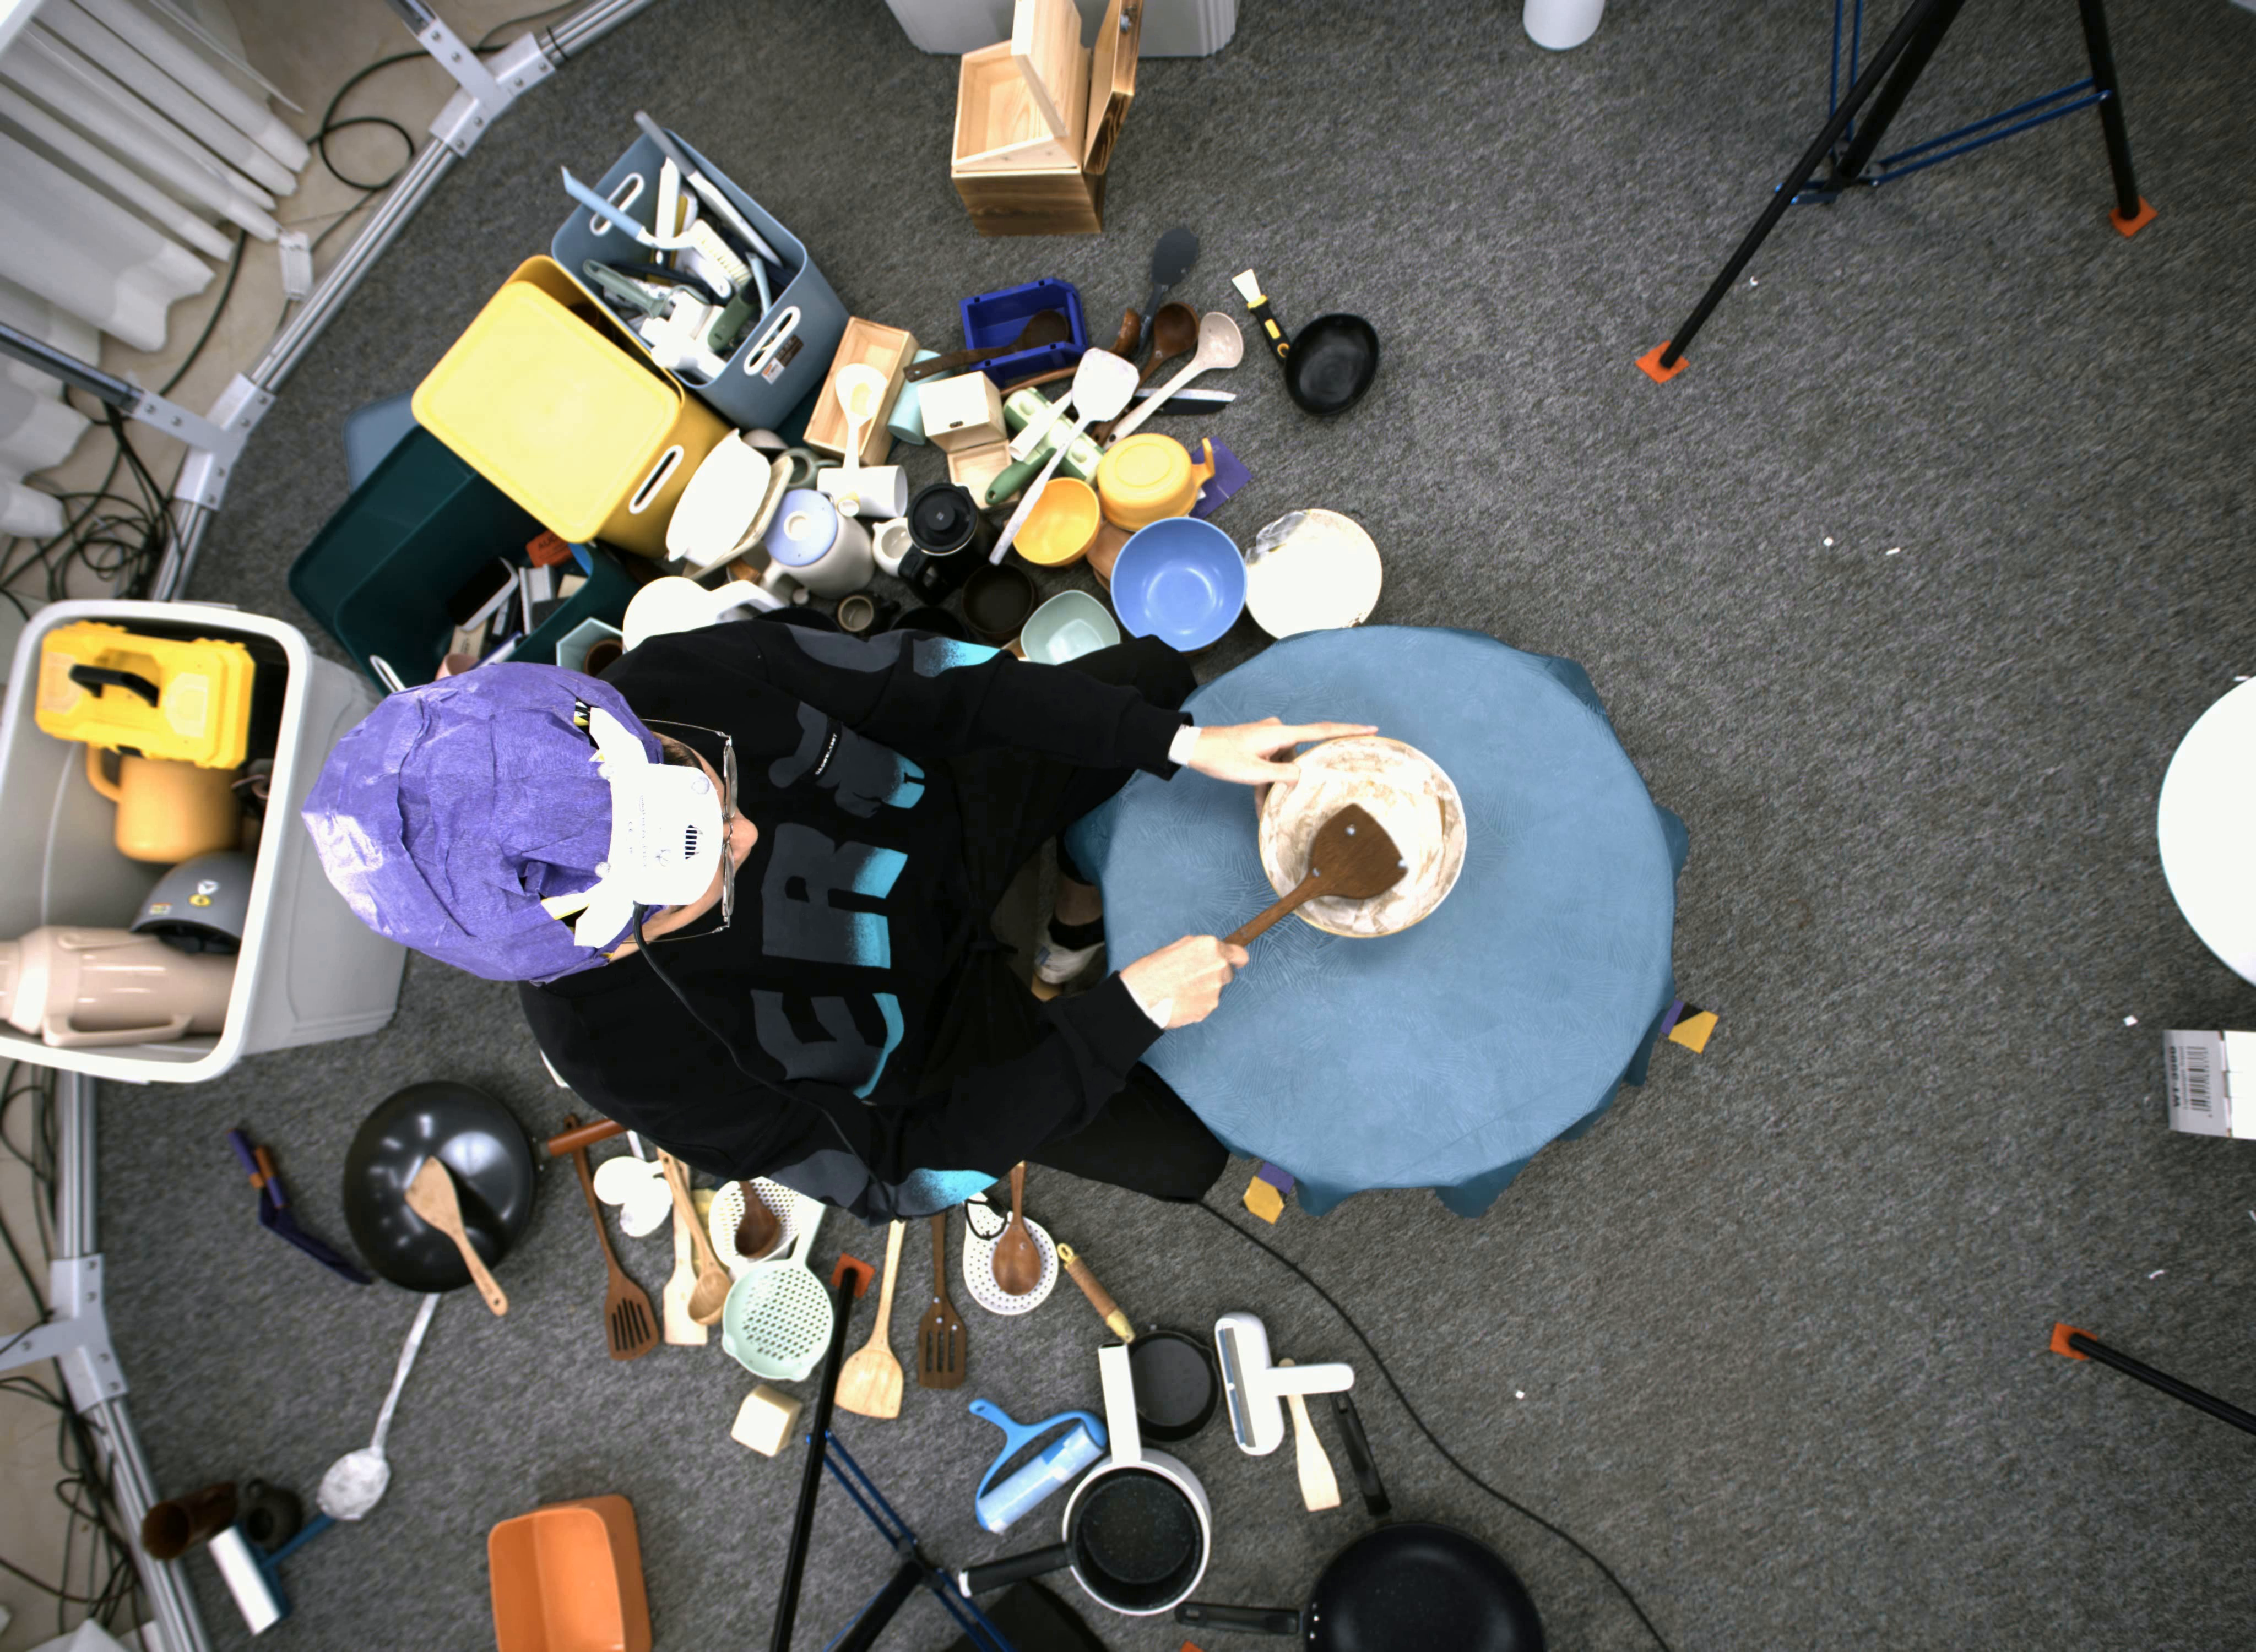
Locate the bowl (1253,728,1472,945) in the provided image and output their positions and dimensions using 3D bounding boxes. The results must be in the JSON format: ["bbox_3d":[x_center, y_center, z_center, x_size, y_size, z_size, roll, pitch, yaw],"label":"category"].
[{"bbox_3d":[0.234,0.008,1.390,0.215,0.093,0.216,1,98,8],"label":"bowl"}]

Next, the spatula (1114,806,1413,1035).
[{"bbox_3d":[0.133,0.095,1.338,0.379,0.016,0.095,-31,80,-30],"label":"spatula"}]
